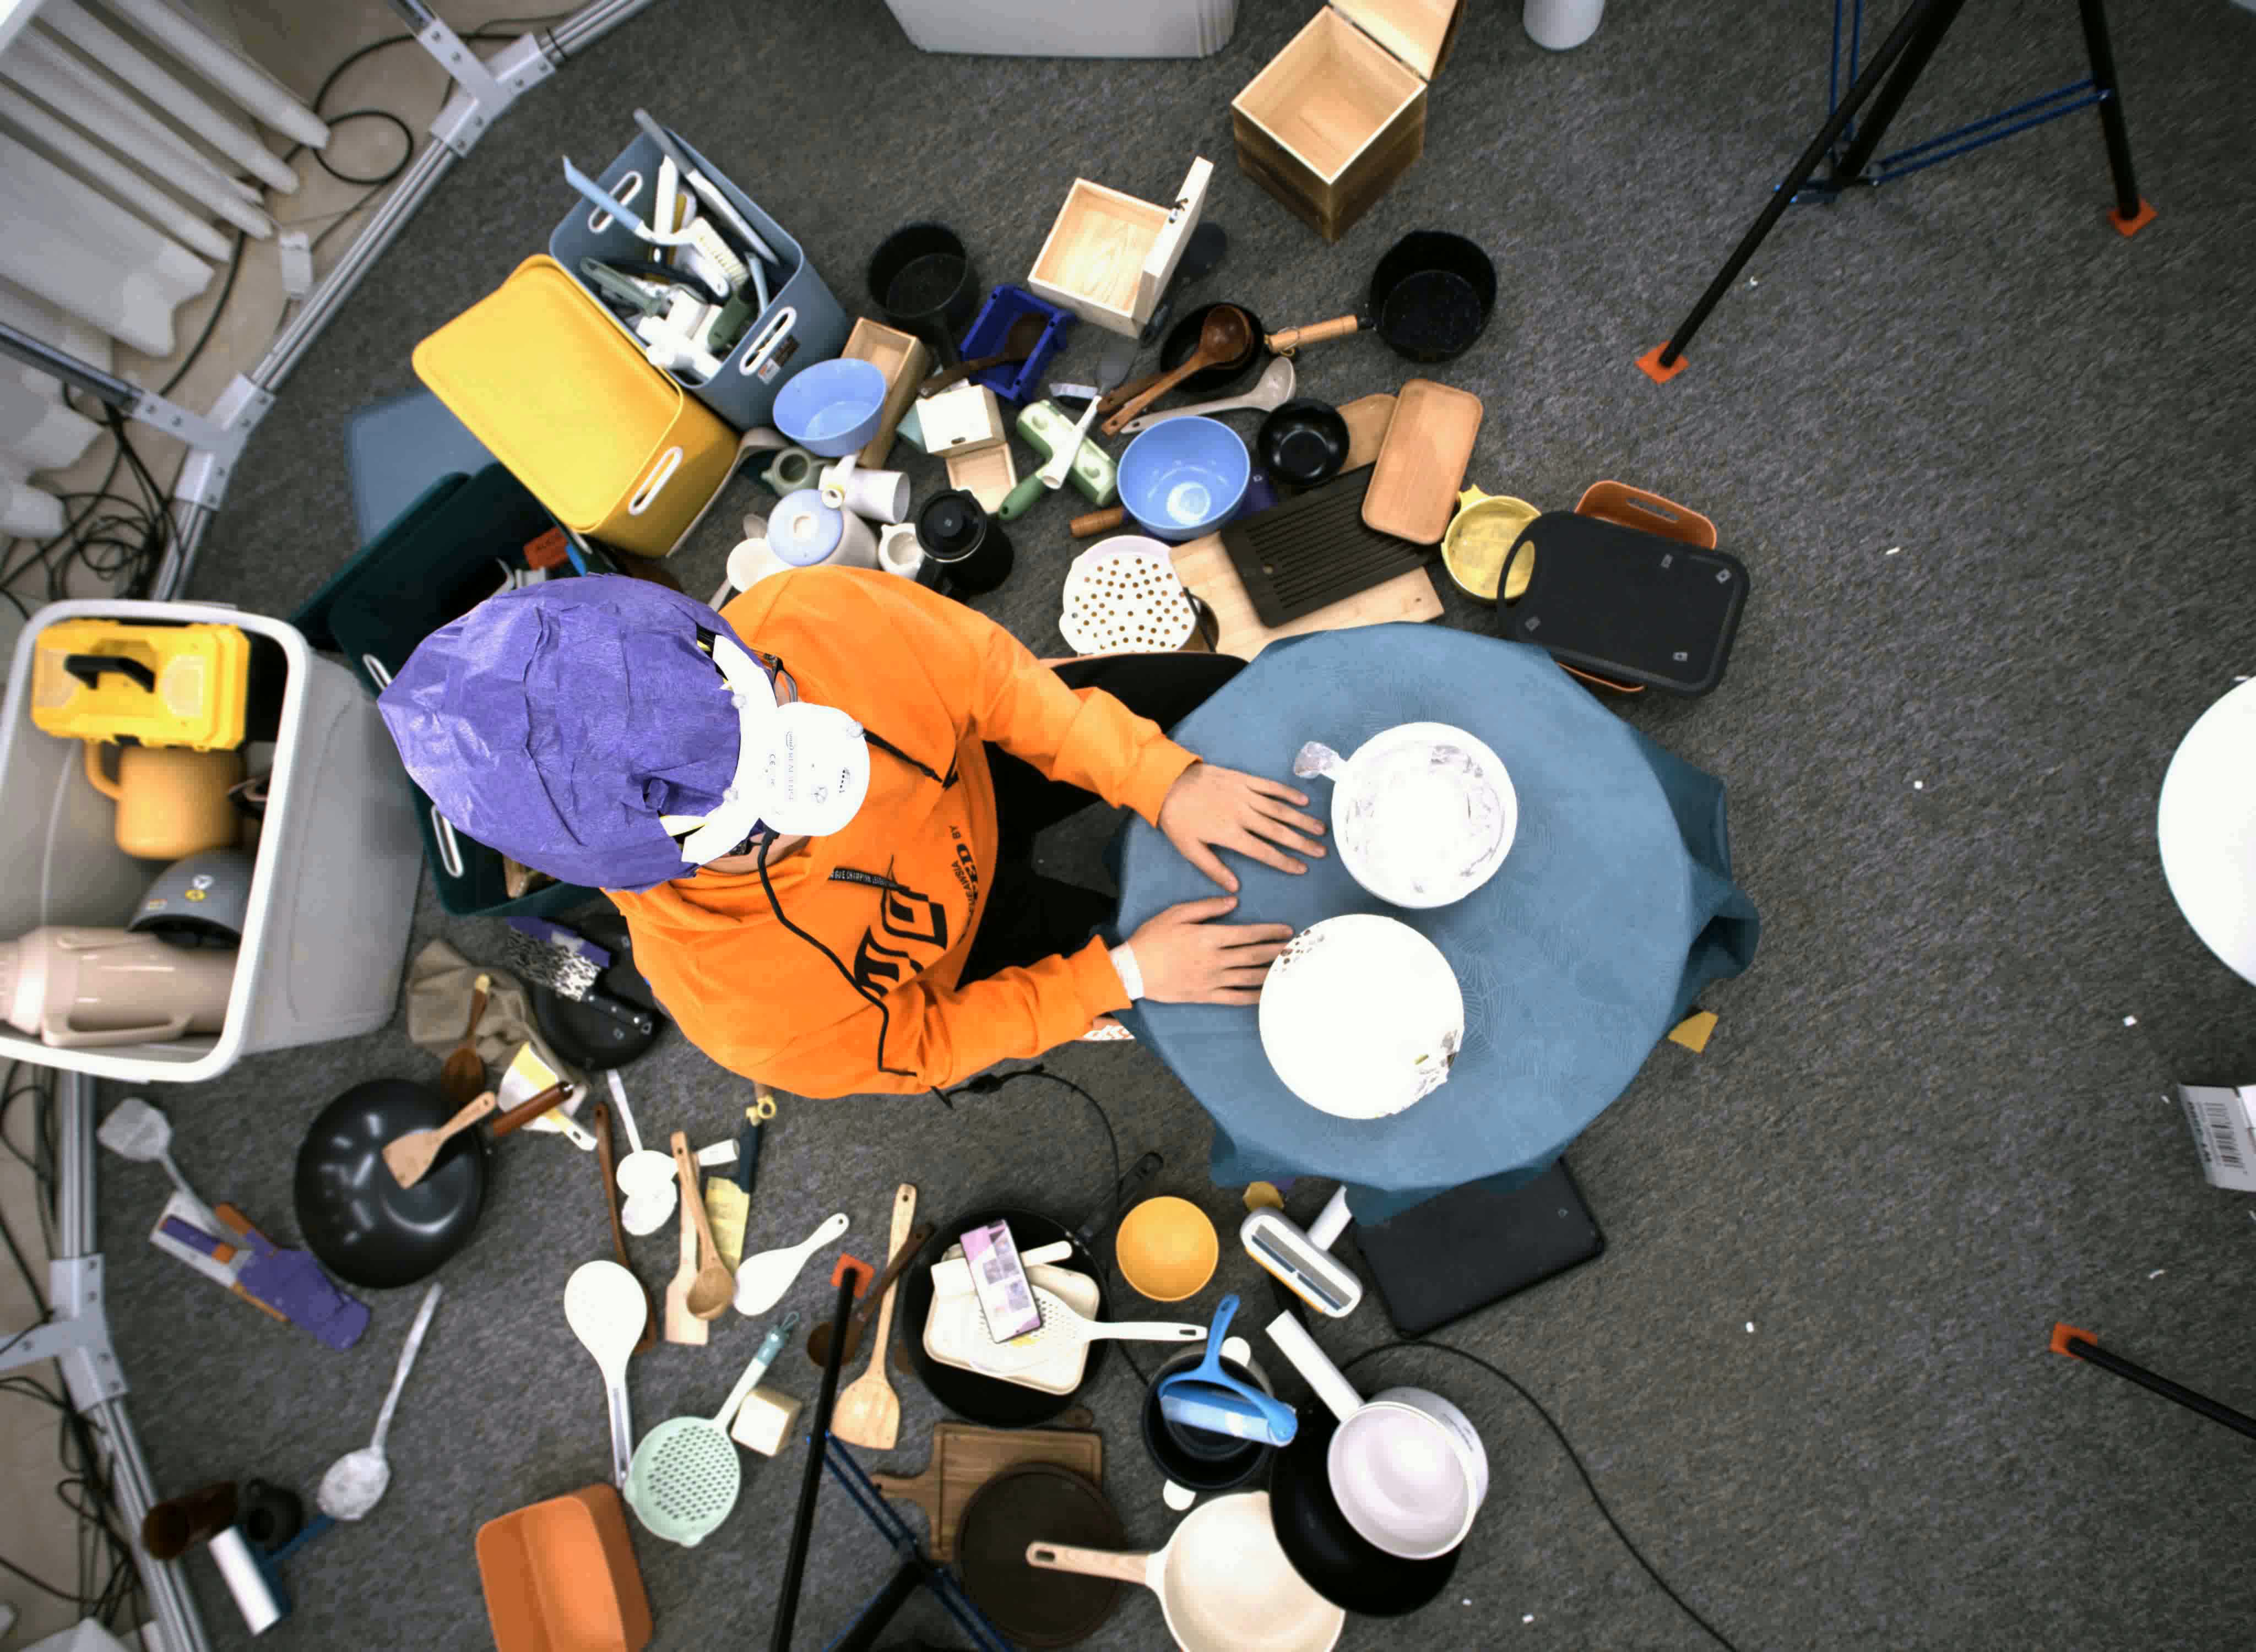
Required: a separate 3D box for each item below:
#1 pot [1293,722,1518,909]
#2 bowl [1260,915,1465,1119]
[{"bbox_3d":[0.272,-0.021,1.395,0.233,0.137,0.179,29,91,11],"label":"pot"},{"bbox_3d":[0.241,0.193,1.421,0.205,0.078,0.203,-1,86,12],"label":"bowl"}]
